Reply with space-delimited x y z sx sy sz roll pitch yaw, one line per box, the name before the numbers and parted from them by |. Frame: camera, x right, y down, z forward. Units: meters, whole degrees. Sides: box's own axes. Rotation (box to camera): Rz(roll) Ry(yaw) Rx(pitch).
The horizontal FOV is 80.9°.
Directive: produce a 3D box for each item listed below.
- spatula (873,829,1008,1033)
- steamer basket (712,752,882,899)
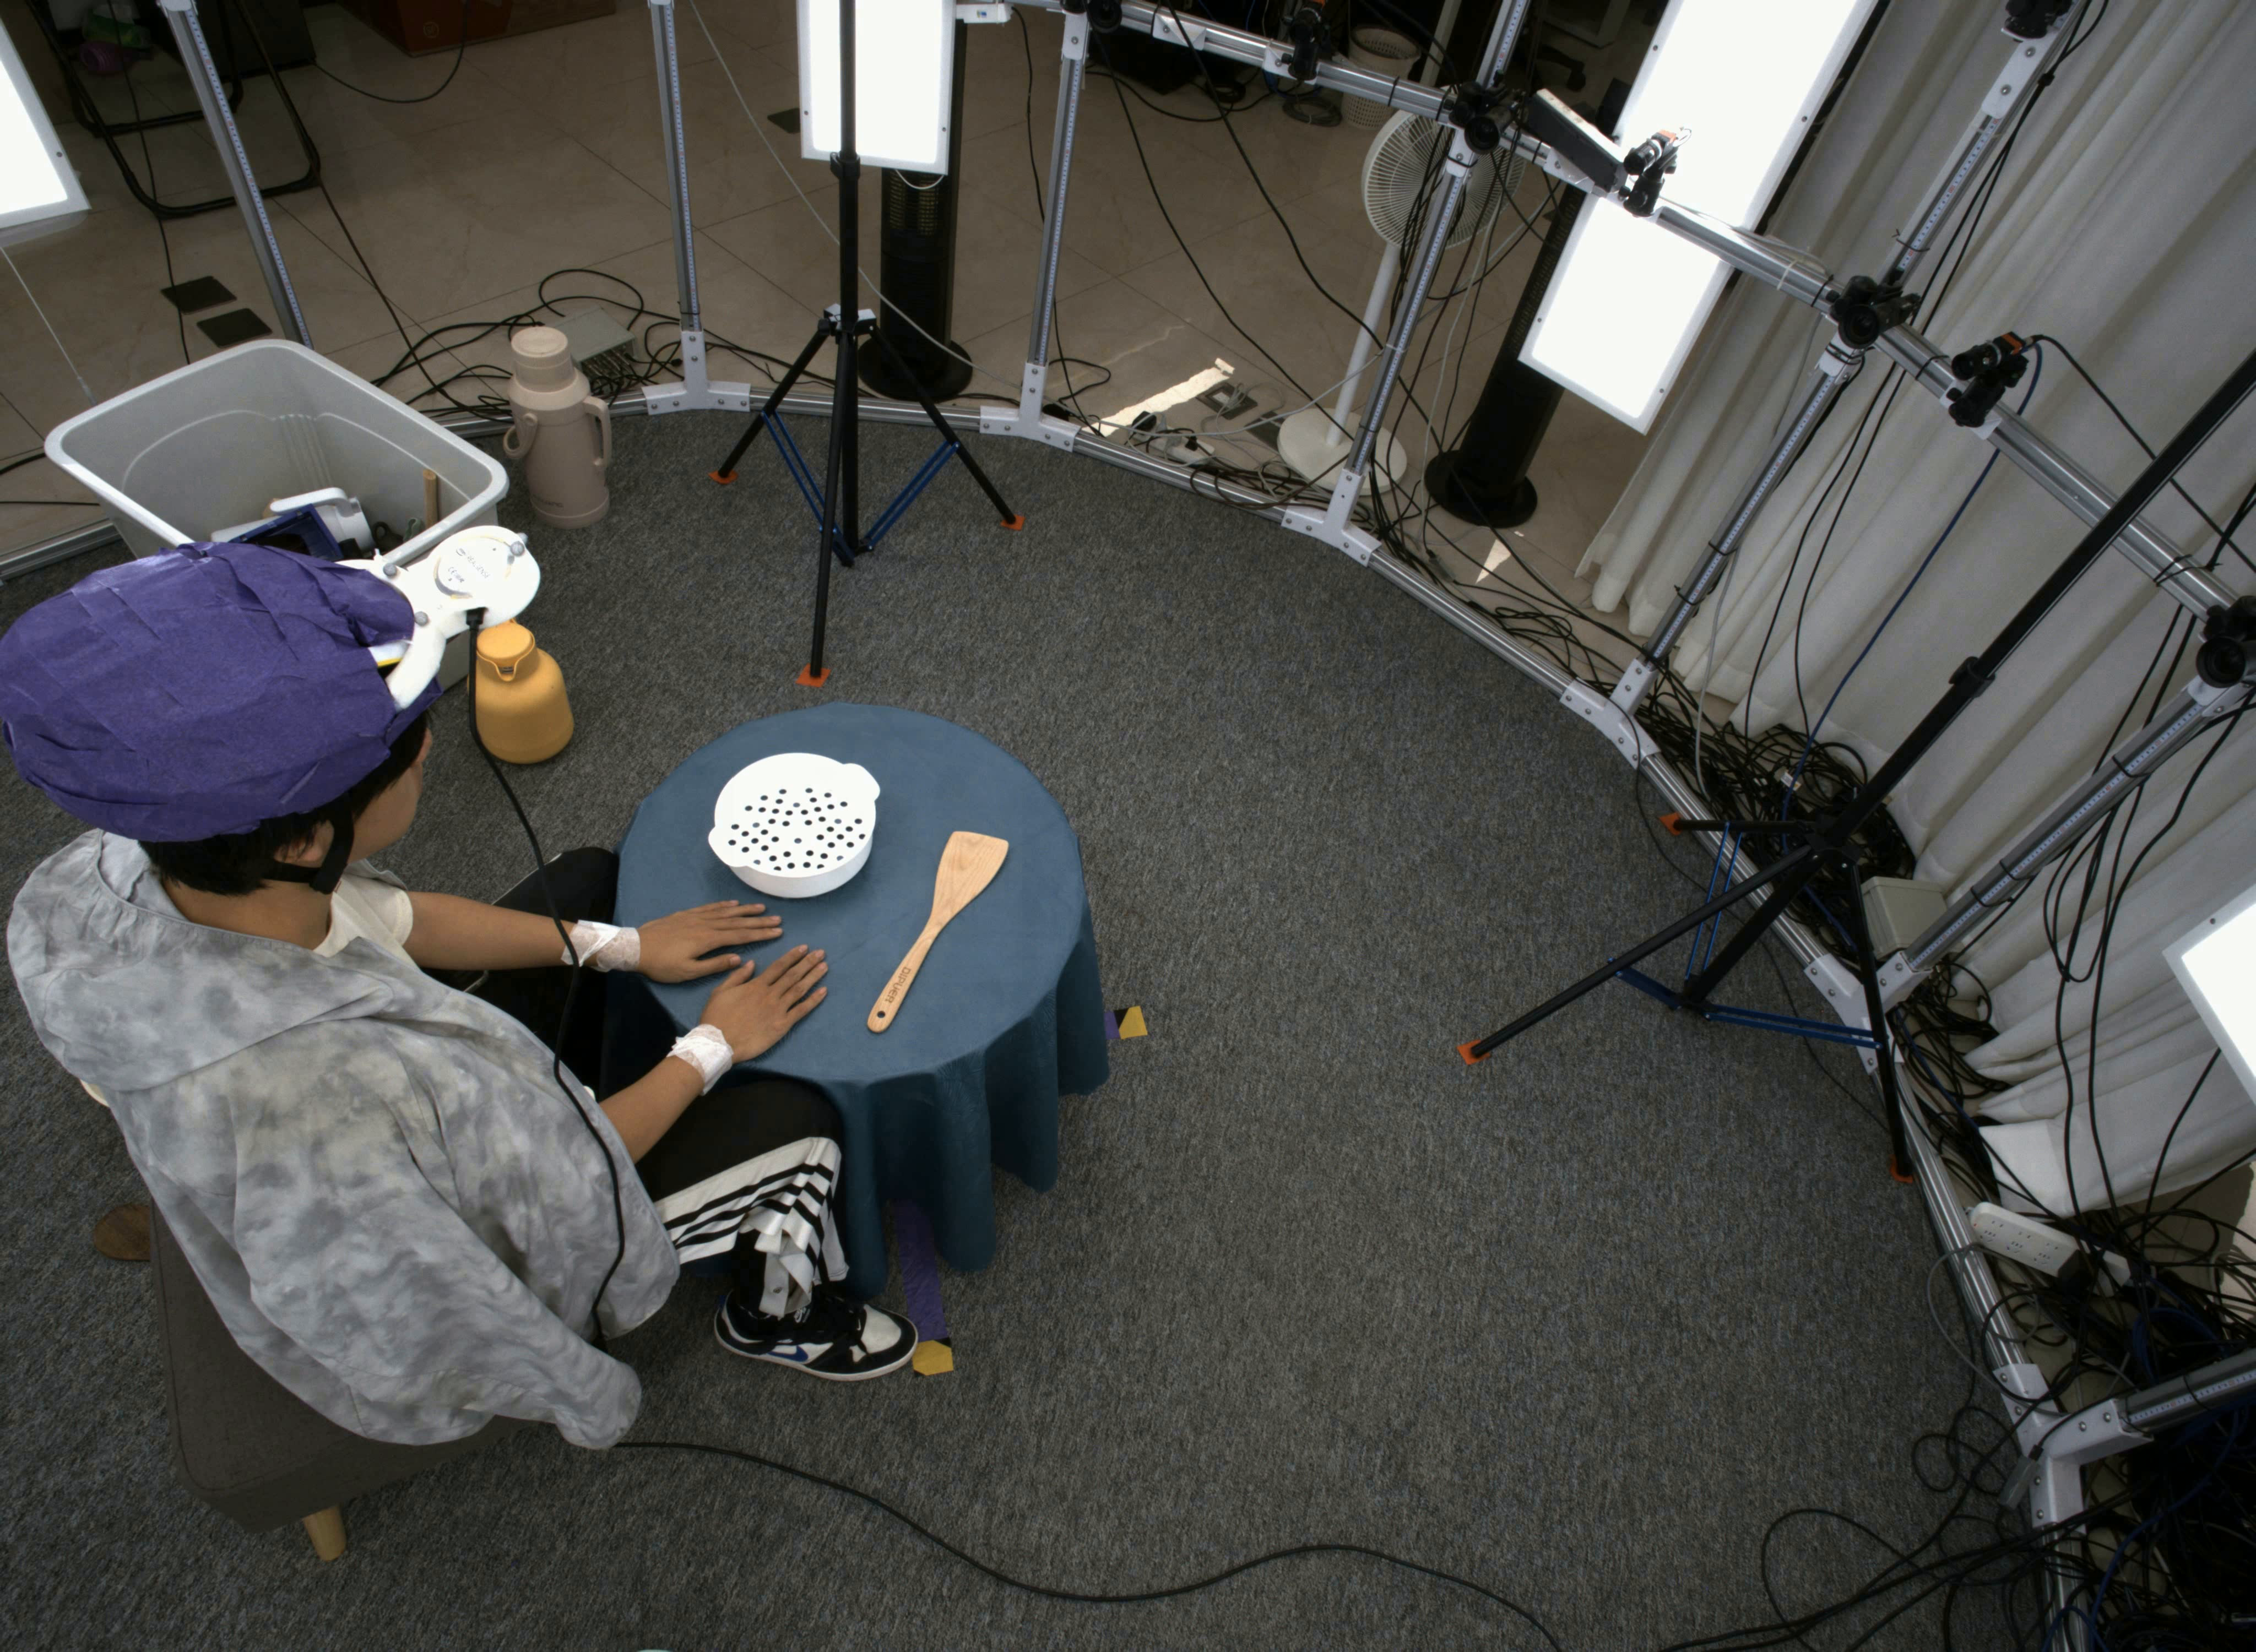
spatula | -0.248 0.126 1.665 0.079 0.017 0.325 22 52 4
steamer basket | -0.425 -0.001 1.685 0.231 0.071 0.197 -31 64 -29
